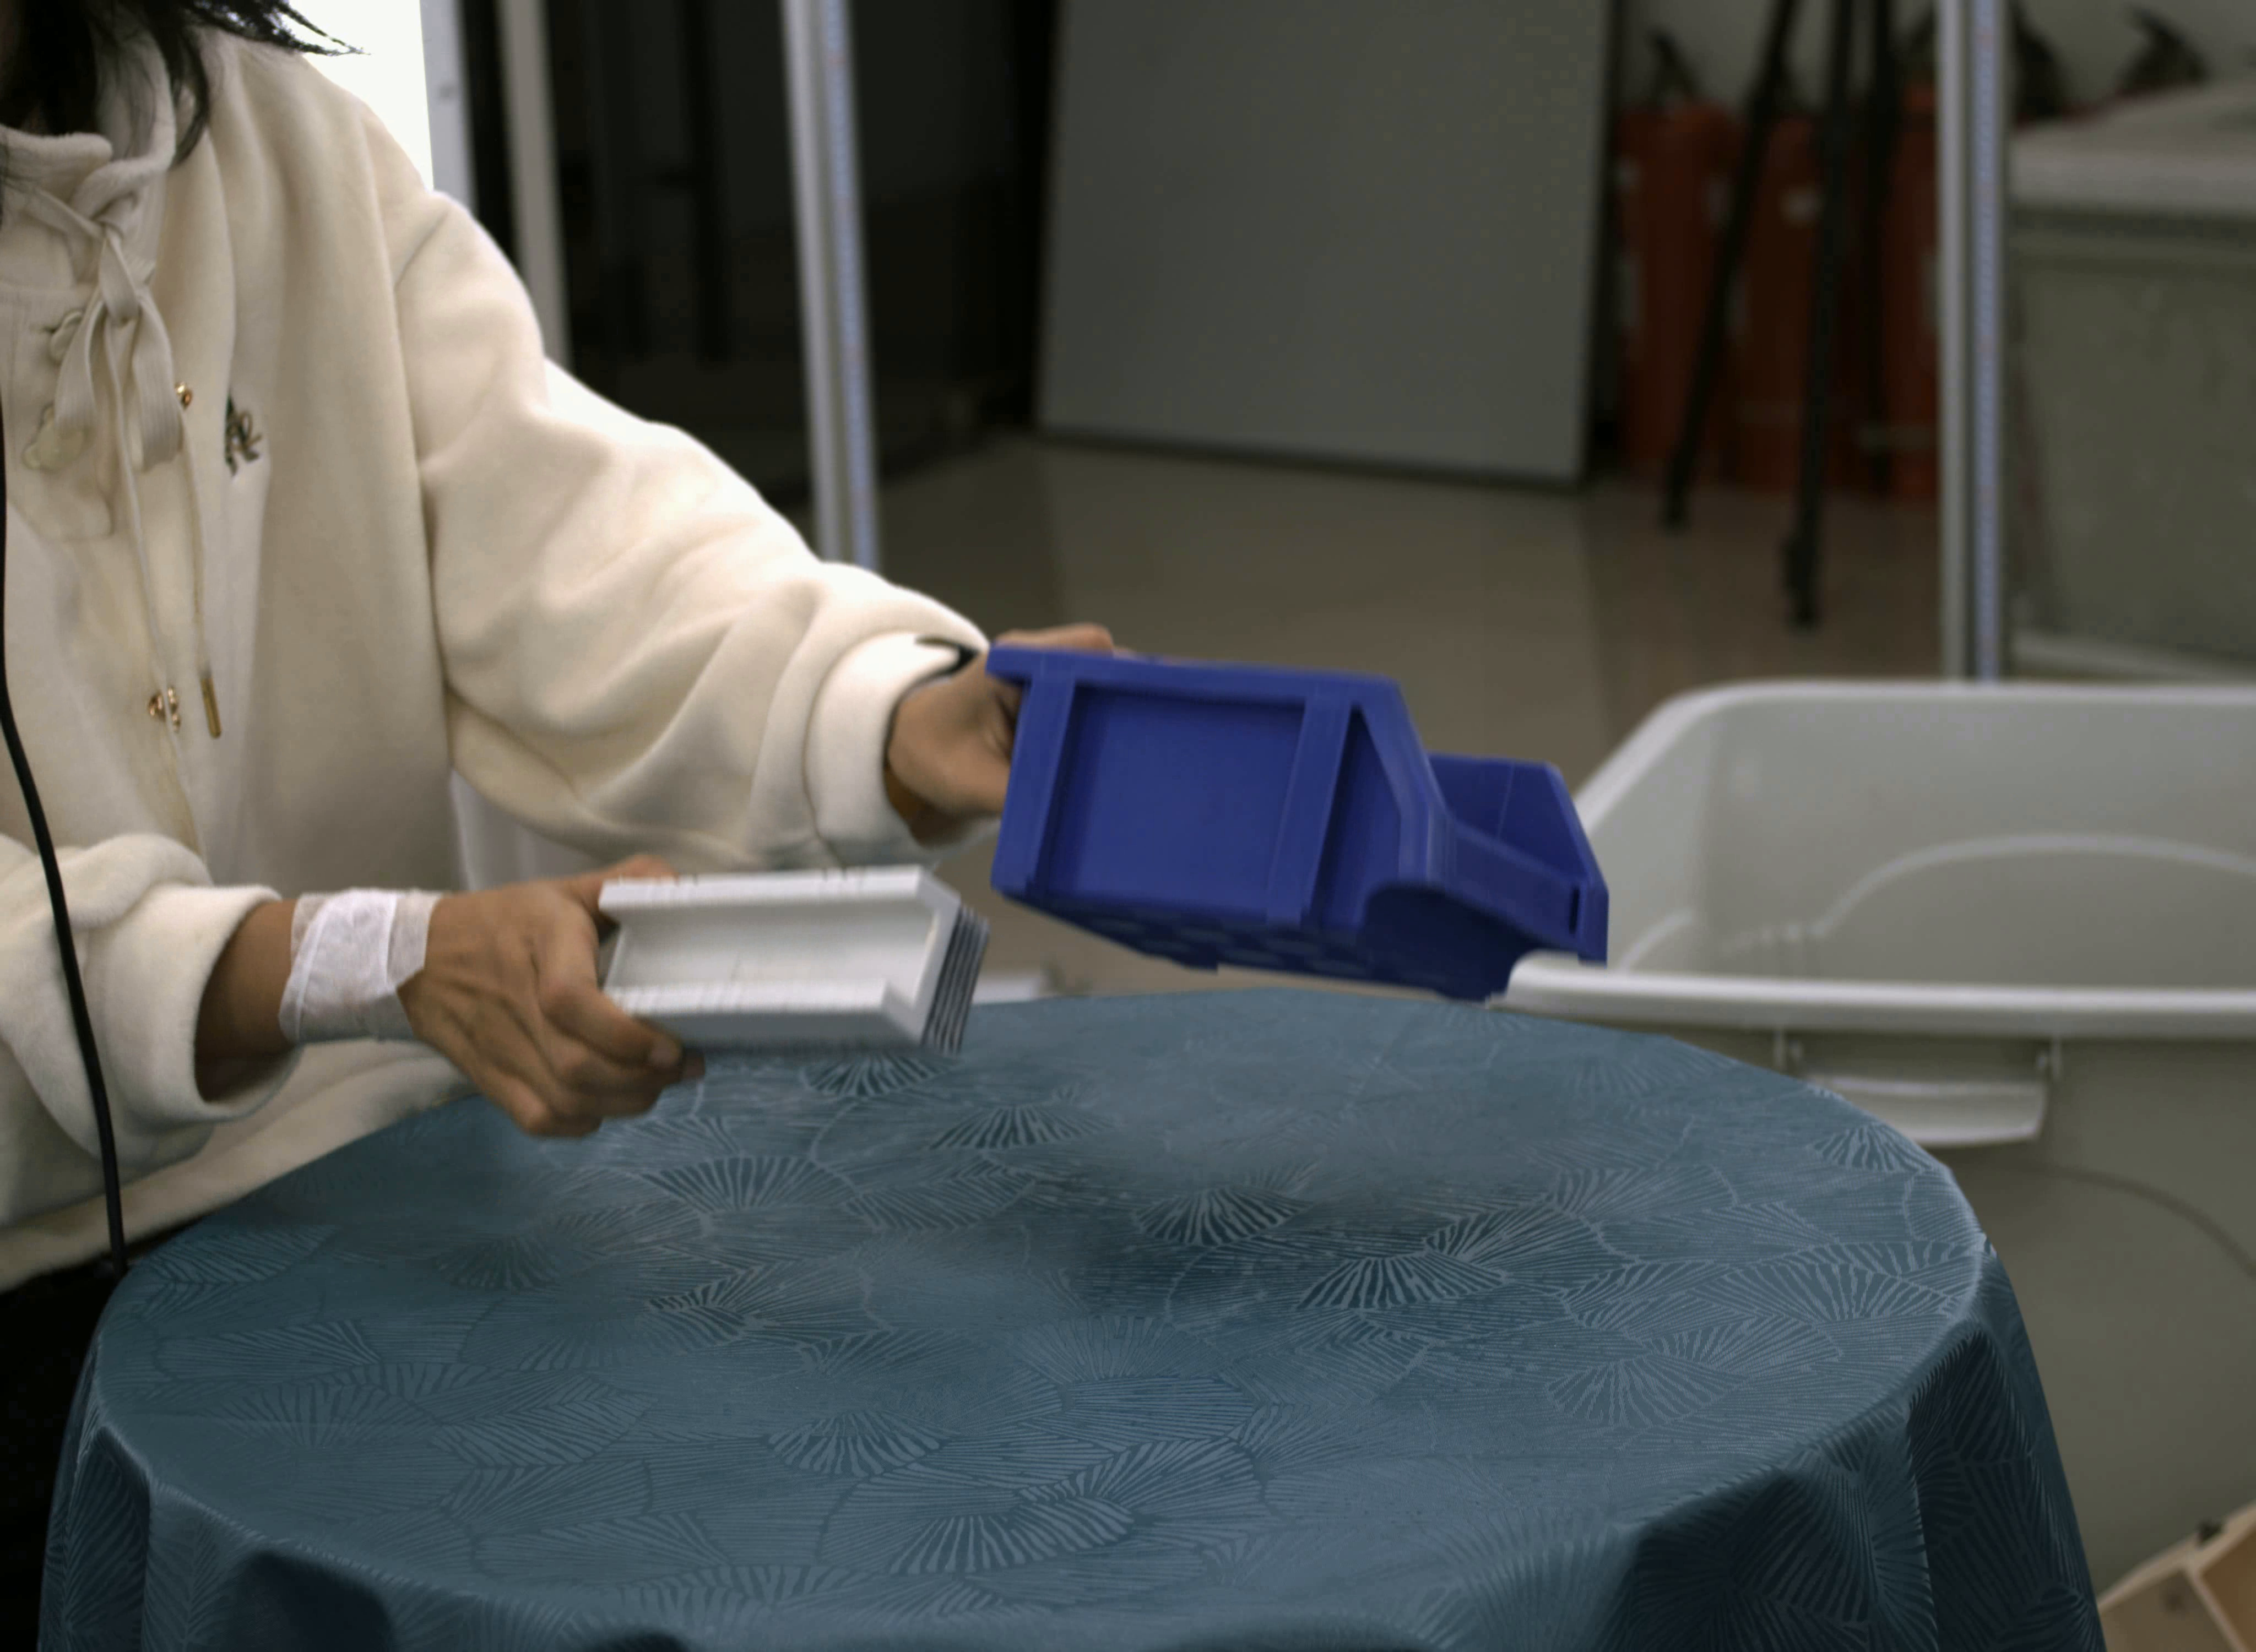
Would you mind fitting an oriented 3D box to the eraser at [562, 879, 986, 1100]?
[{"bbox_3d":[-0.111,0.053,1.694,0.135,0.050,0.046,-5,-31,37],"label":"eraser"}]

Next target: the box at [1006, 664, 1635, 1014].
[{"bbox_3d":[0.061,0.006,1.711,0.180,0.083,0.122,3,-12,37],"label":"box"}]
